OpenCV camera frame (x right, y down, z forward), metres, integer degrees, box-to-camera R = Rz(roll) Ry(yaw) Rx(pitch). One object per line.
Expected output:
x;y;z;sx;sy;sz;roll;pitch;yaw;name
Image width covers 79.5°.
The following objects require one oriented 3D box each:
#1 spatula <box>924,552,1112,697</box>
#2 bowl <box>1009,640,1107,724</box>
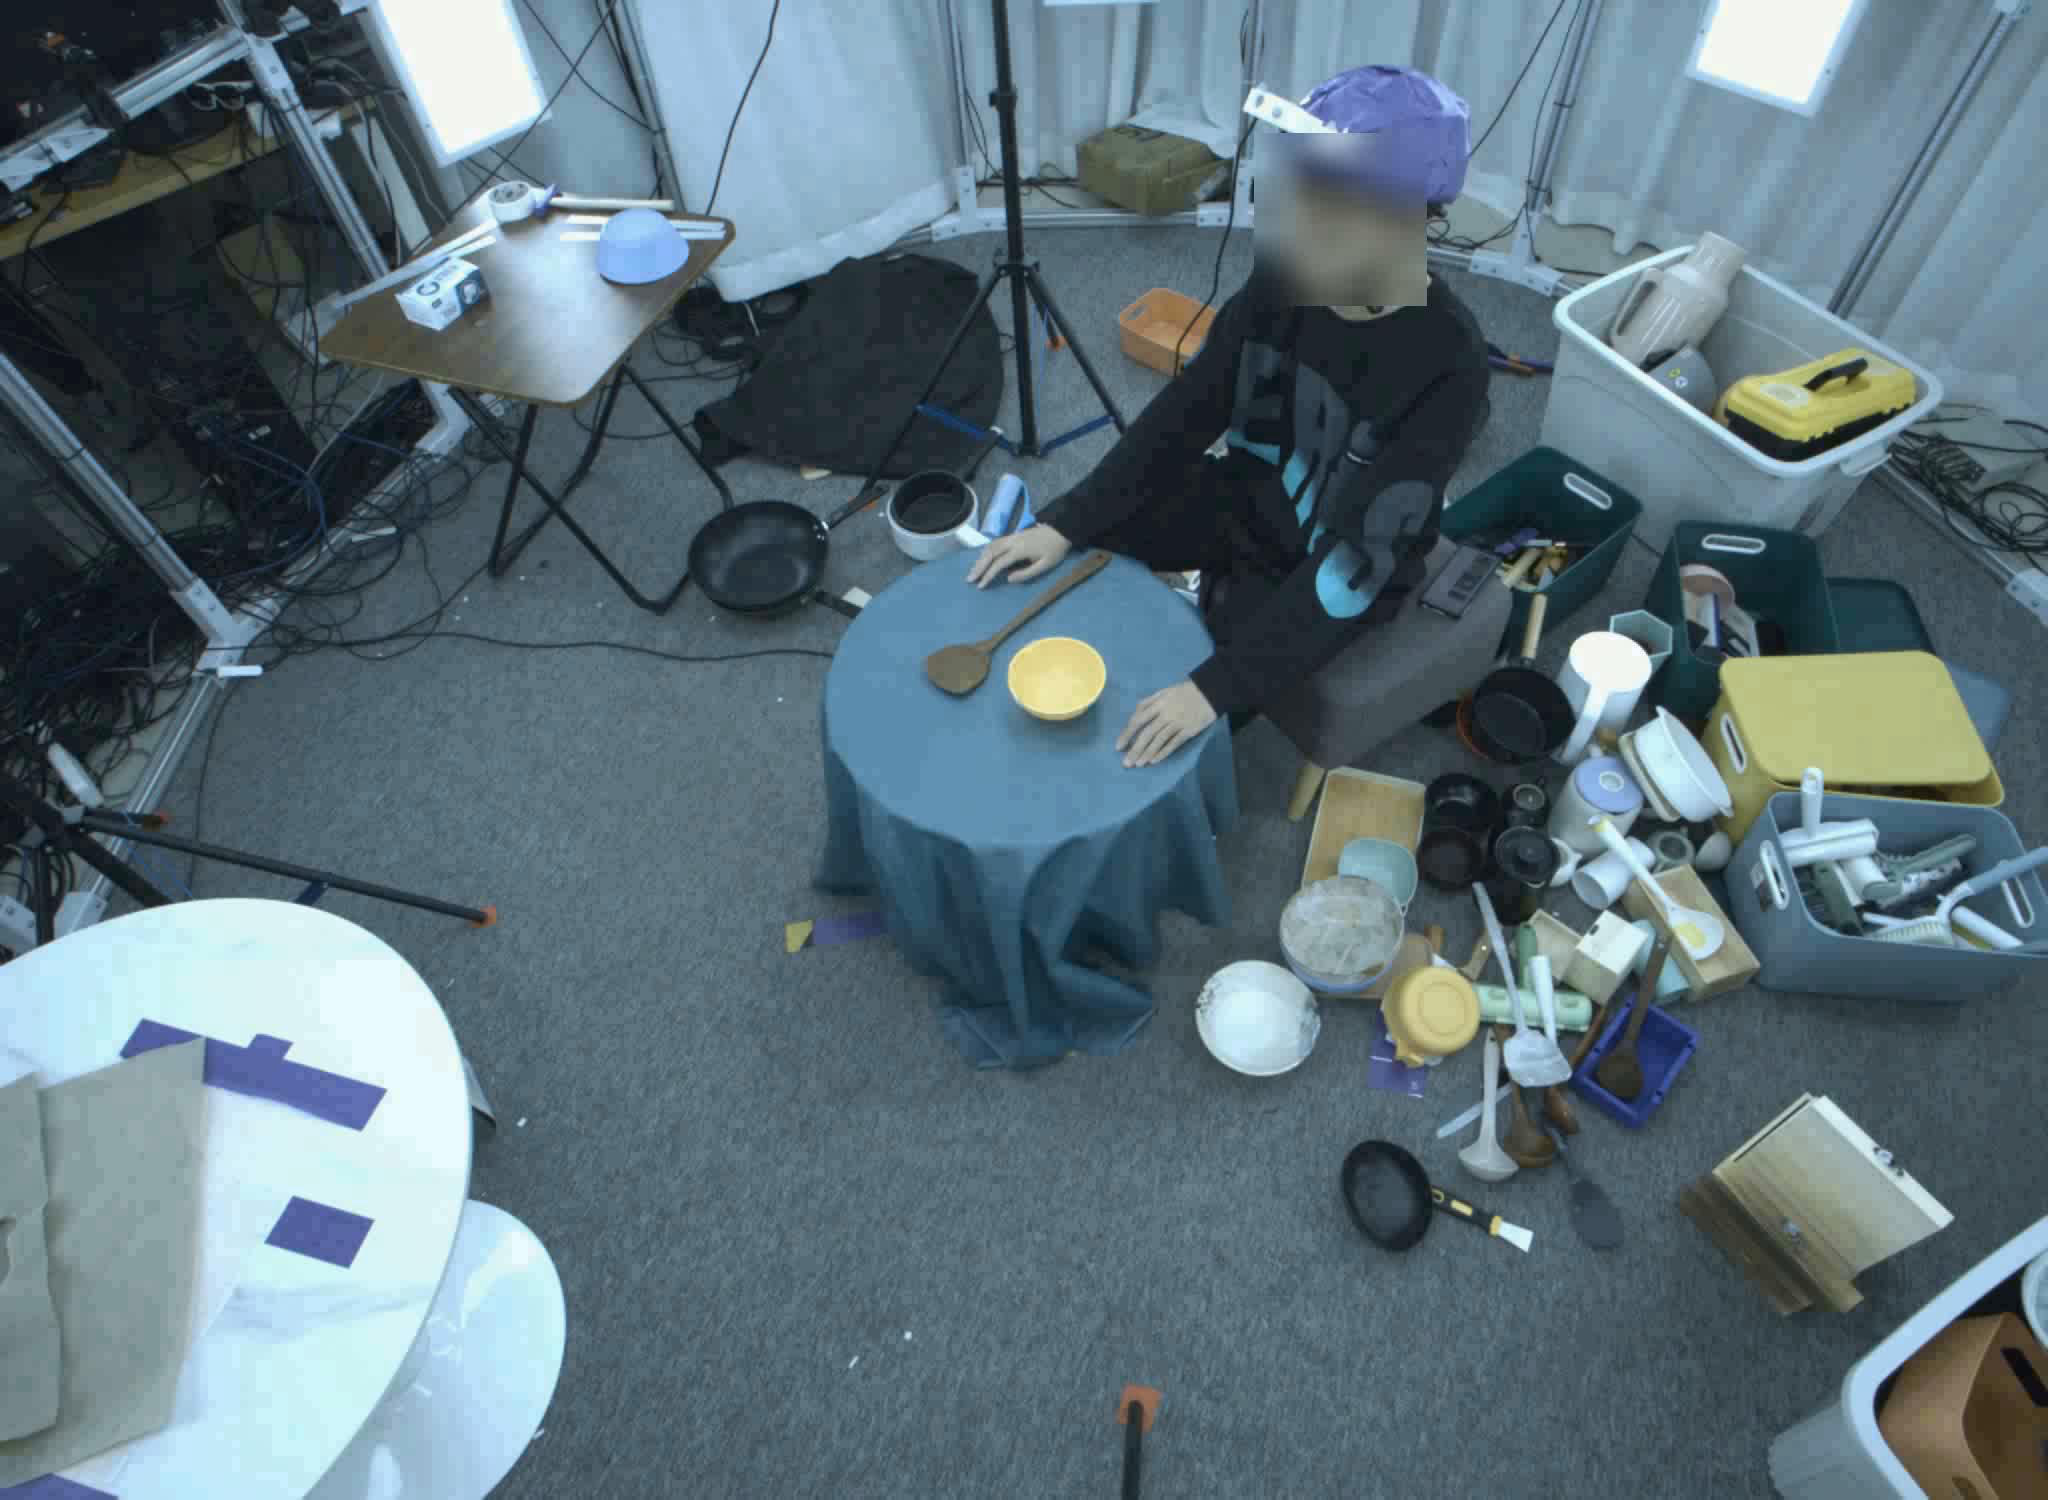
0.004;-0.209;1.937;0.094;0.016;0.388;38;64;24;spatula
0.050;-0.090;1.826;0.145;0.060;0.144;1;56;0;bowl
